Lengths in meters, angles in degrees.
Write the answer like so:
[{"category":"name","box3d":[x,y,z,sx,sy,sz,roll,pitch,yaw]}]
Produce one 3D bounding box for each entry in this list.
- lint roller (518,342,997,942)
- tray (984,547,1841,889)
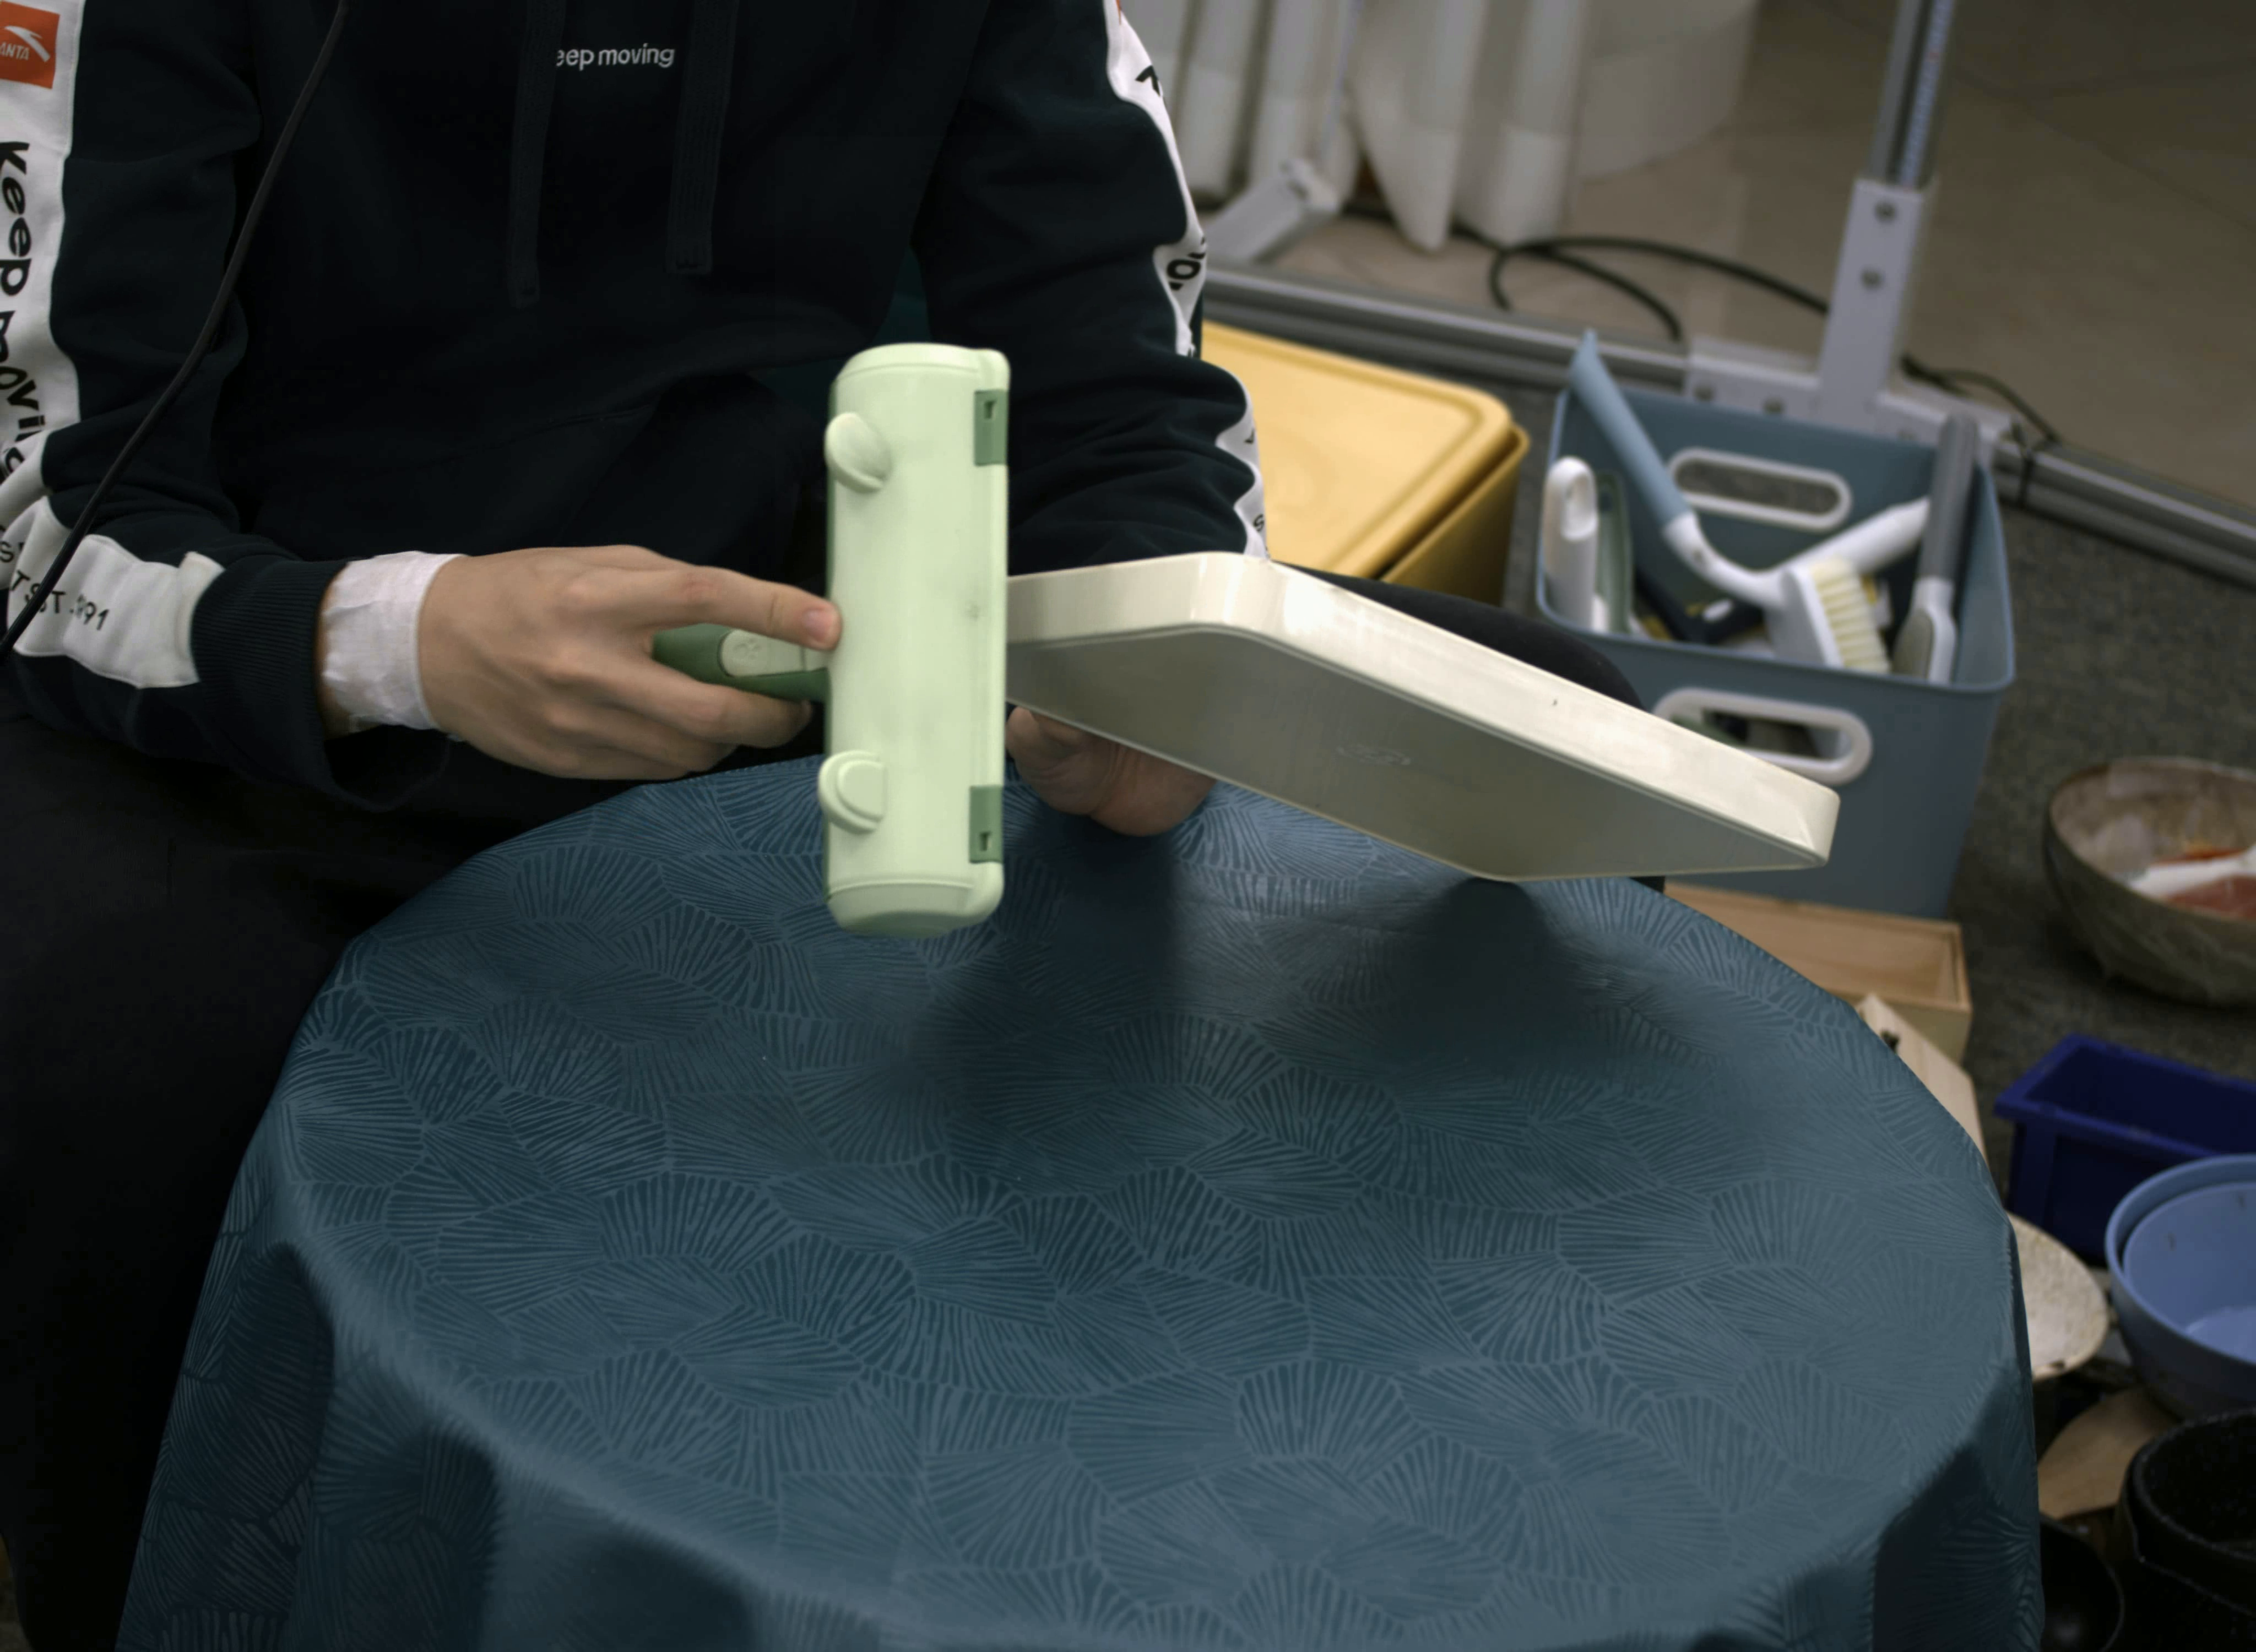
[{"category":"lint roller","box3d":[-0.130,-0.059,1.778,0.183,0.200,0.081,-4,-15,16]},{"category":"tray","box3d":[0.088,-0.033,1.882,0.297,0.027,0.192,20,-16,-35]}]
